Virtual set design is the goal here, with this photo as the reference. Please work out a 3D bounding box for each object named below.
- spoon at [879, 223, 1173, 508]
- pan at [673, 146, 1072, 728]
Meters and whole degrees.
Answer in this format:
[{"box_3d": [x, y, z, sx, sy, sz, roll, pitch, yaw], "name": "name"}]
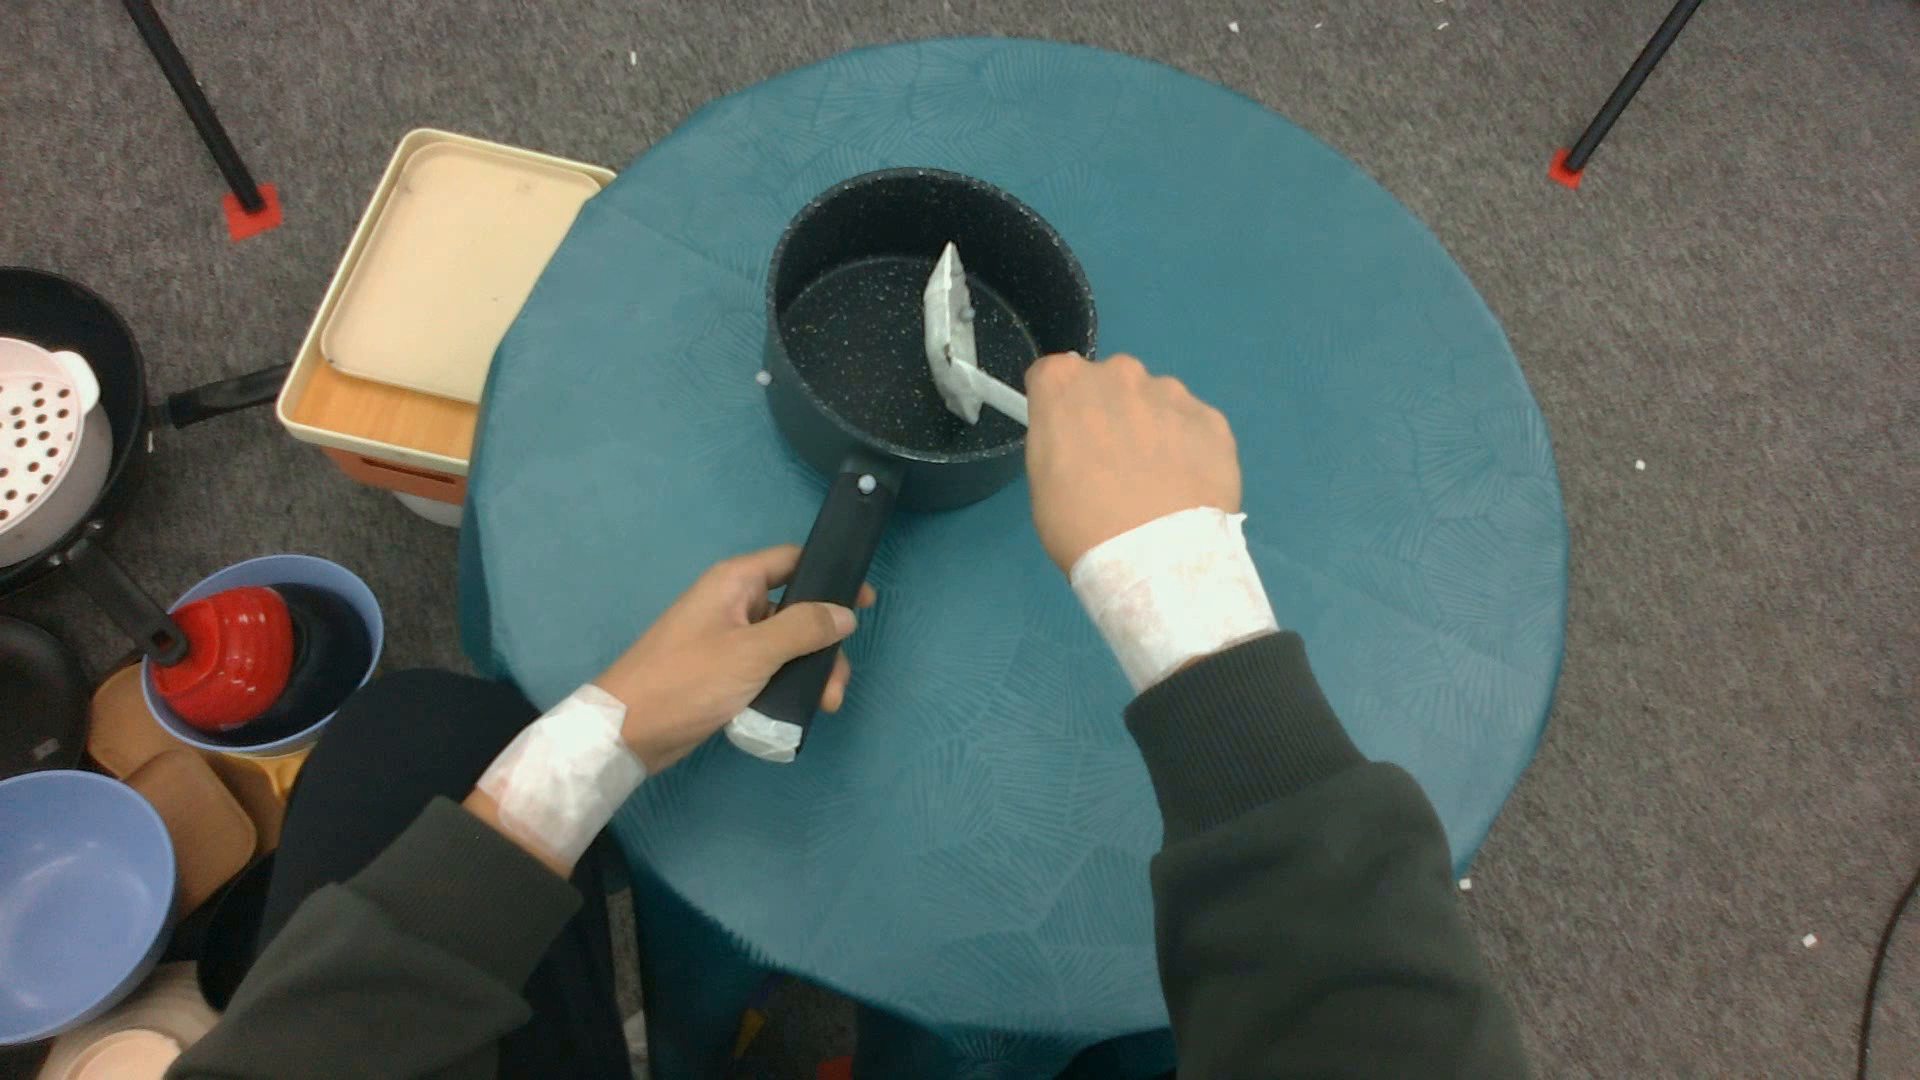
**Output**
[{"box_3d": [0.029, -0.082, 0.634, 0.059, 0.100, 0.277, -33, 34, -16], "name": "spoon"}, {"box_3d": [-0.059, -0.048, 0.687, 0.172, 0.086, 0.330, 23, 63, -3], "name": "pan"}]
